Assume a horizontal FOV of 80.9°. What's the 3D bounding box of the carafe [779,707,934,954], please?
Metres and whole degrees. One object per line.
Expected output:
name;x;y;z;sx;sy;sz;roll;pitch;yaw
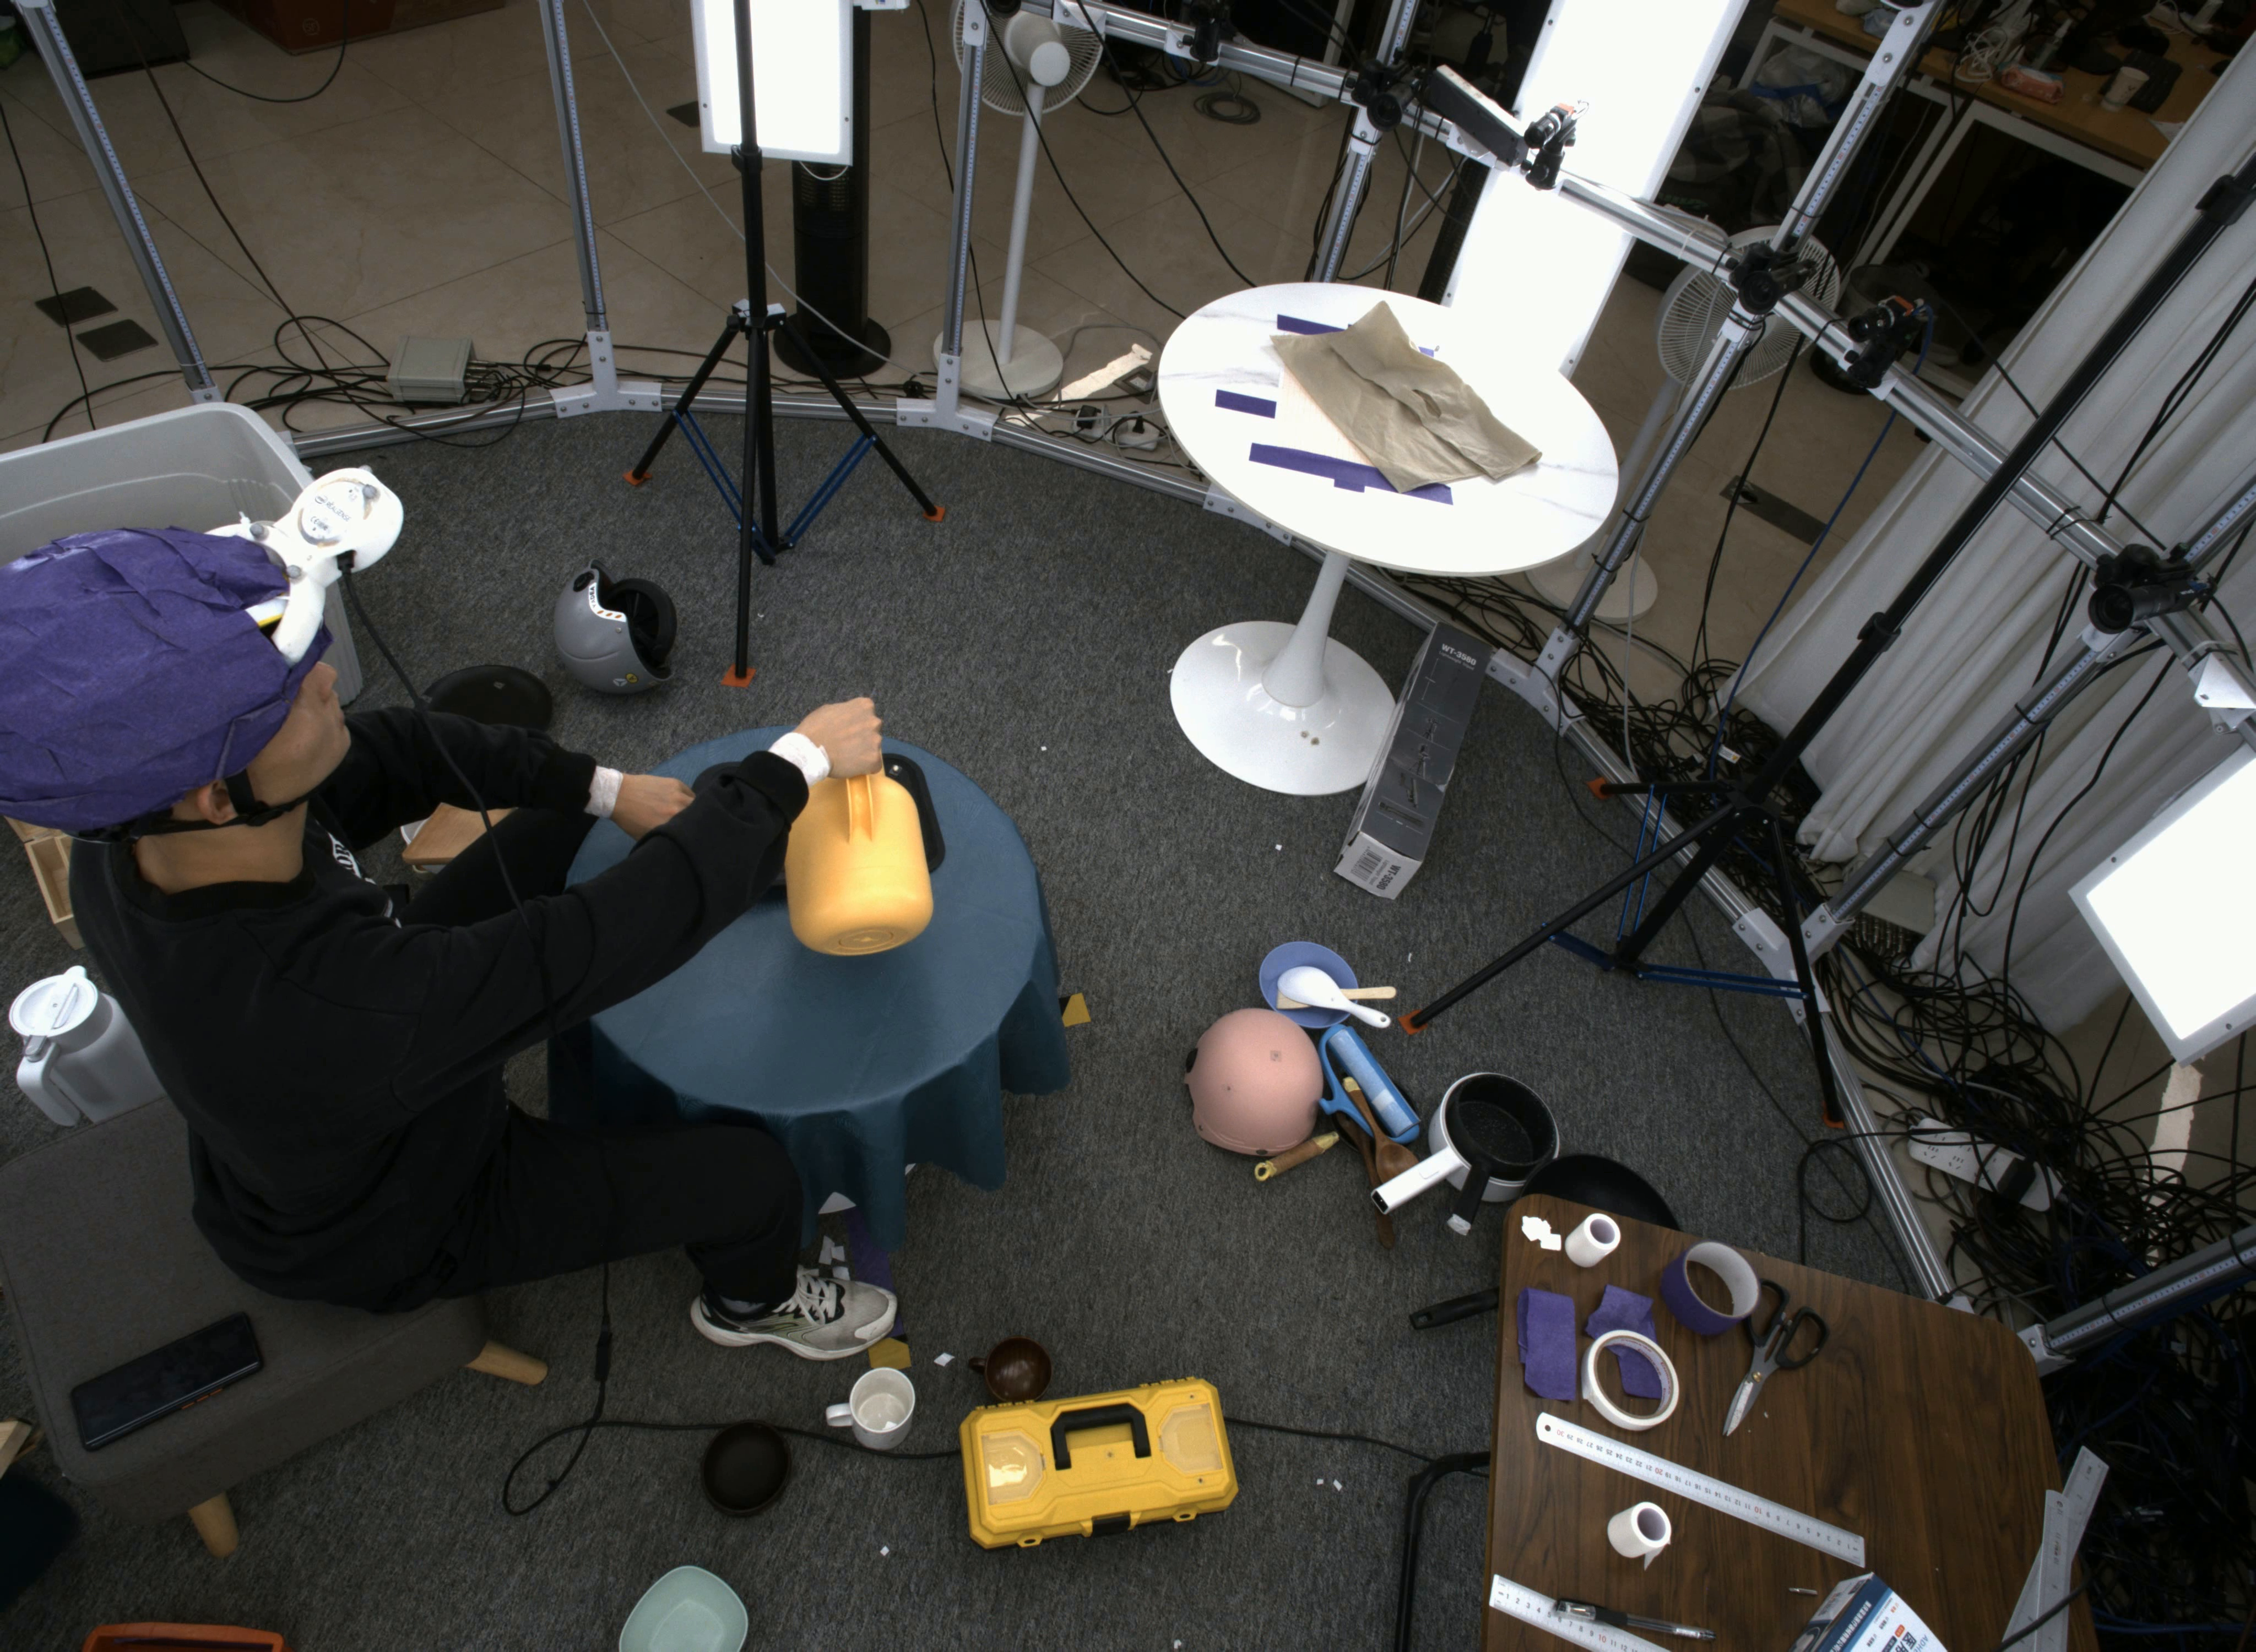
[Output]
carafe;-0.320;-0.003;1.489;0.164;0.204;0.257;-9;69;-16

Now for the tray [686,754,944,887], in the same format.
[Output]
tray;-0.412;-0.013;1.705;0.328;0.010;0.206;-4;54;-26
